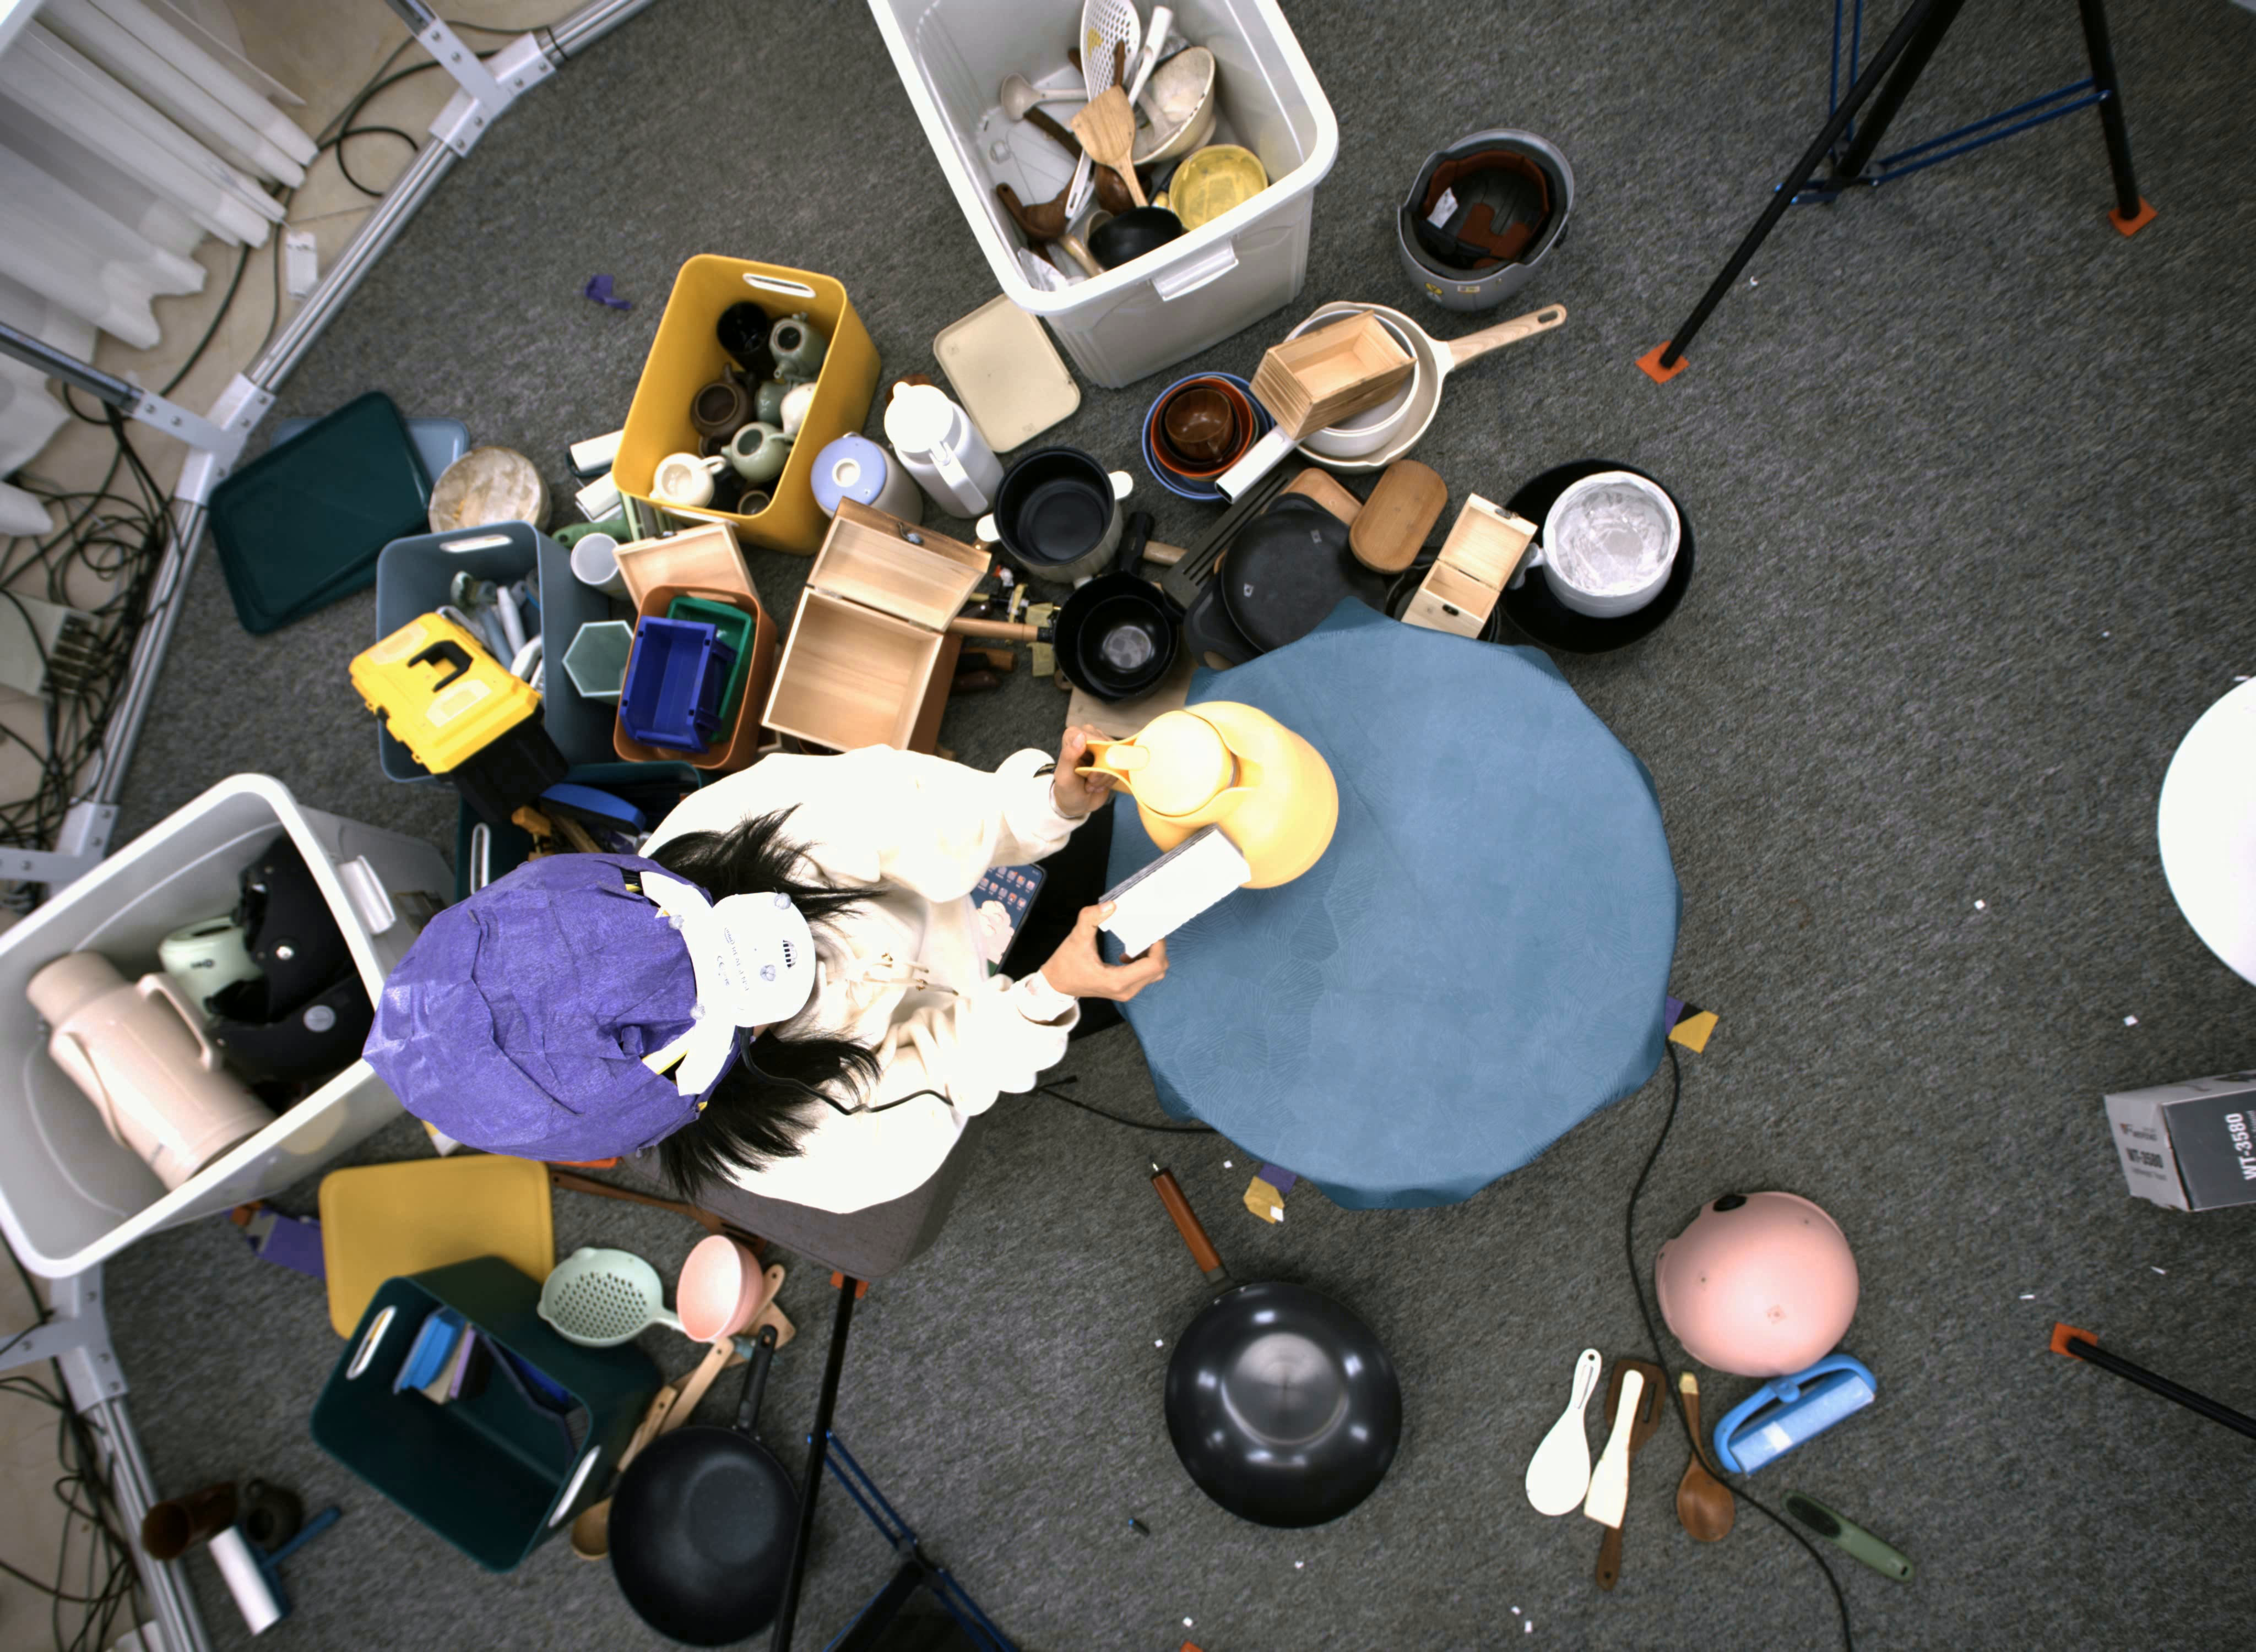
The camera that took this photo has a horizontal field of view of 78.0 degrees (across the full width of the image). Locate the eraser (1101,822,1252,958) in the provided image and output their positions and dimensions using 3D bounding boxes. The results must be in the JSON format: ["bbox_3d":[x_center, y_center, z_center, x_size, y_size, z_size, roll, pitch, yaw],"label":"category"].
[{"bbox_3d":[0.041,0.056,1.229,0.136,0.045,0.050,-38,121,20],"label":"eraser"}]

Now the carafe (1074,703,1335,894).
[{"bbox_3d":[0.071,-0.037,1.297,0.203,0.261,0.162,10,82,25],"label":"carafe"}]
